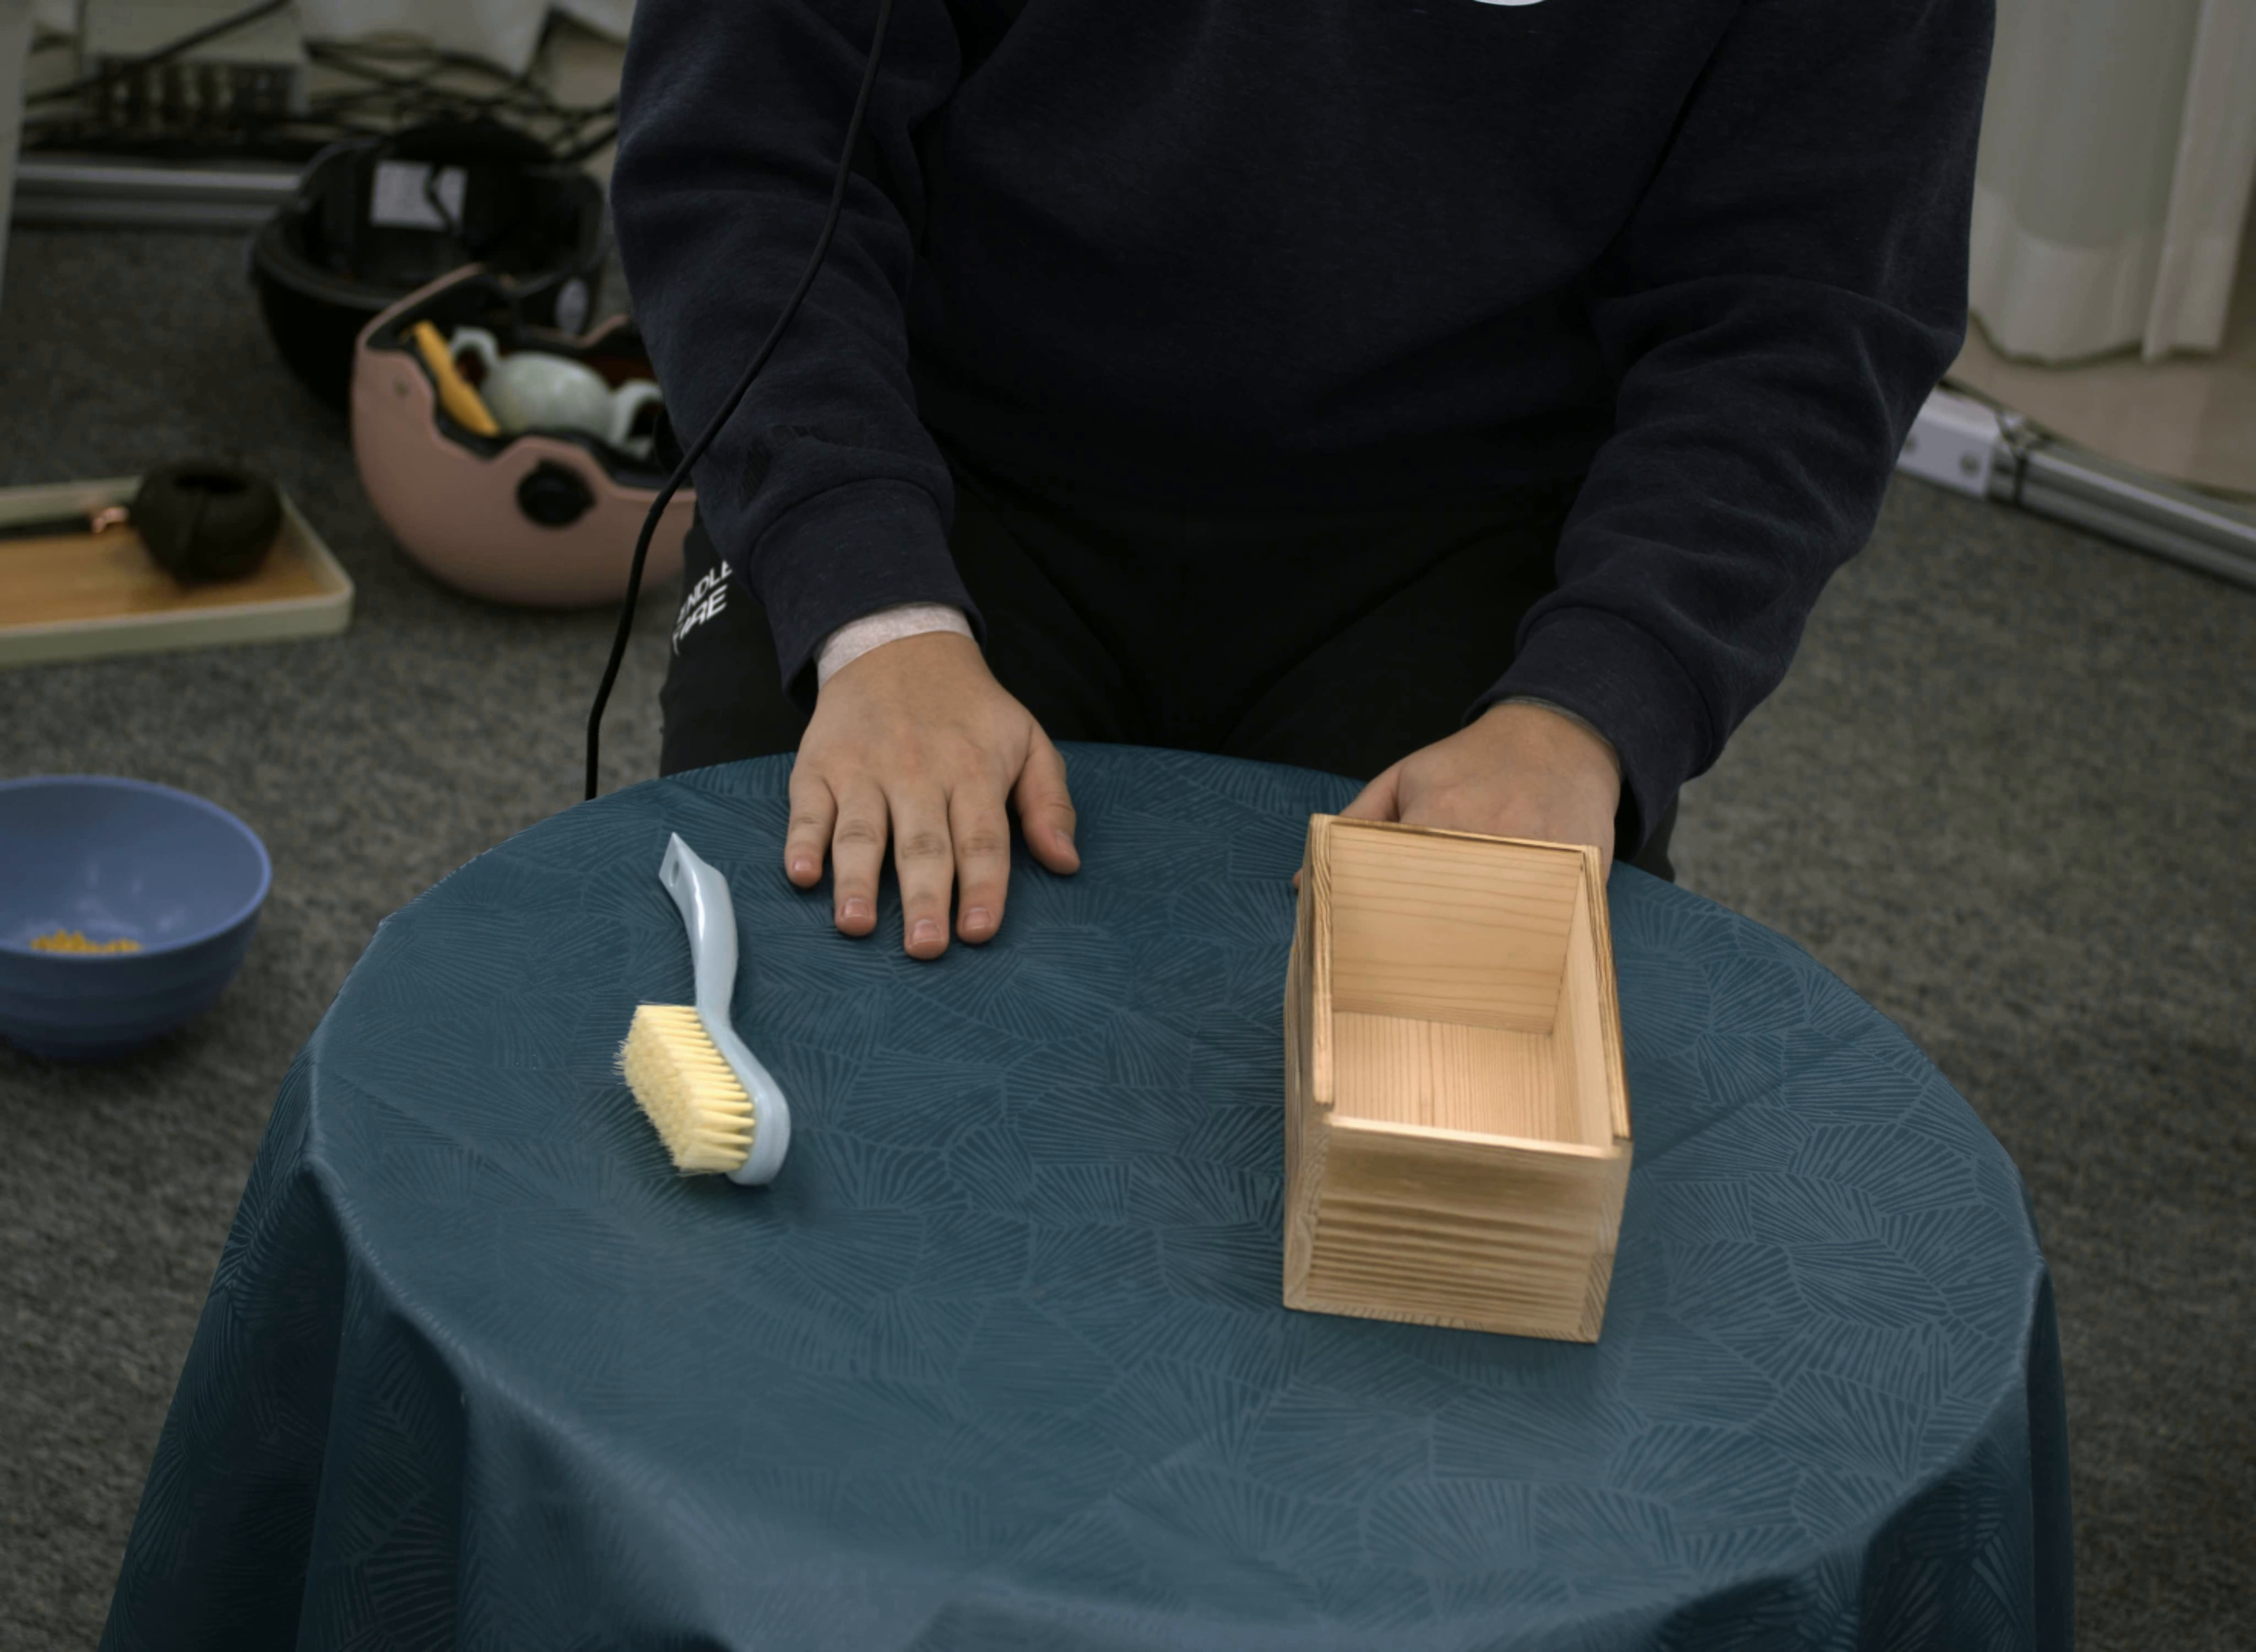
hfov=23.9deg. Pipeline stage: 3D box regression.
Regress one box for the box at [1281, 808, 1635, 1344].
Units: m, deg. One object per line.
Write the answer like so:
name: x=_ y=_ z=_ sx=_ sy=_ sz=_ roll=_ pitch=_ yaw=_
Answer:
box: x=0.110 y=0.082 z=1.825 sx=0.107 sy=0.080 sz=0.212 roll=6 pitch=27 yaw=-2

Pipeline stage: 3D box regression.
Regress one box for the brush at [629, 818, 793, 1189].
brush: x=-0.154 y=0.056 z=1.860 sx=0.049 sy=0.037 sz=0.230 roll=8 pitch=26 yaw=-15
